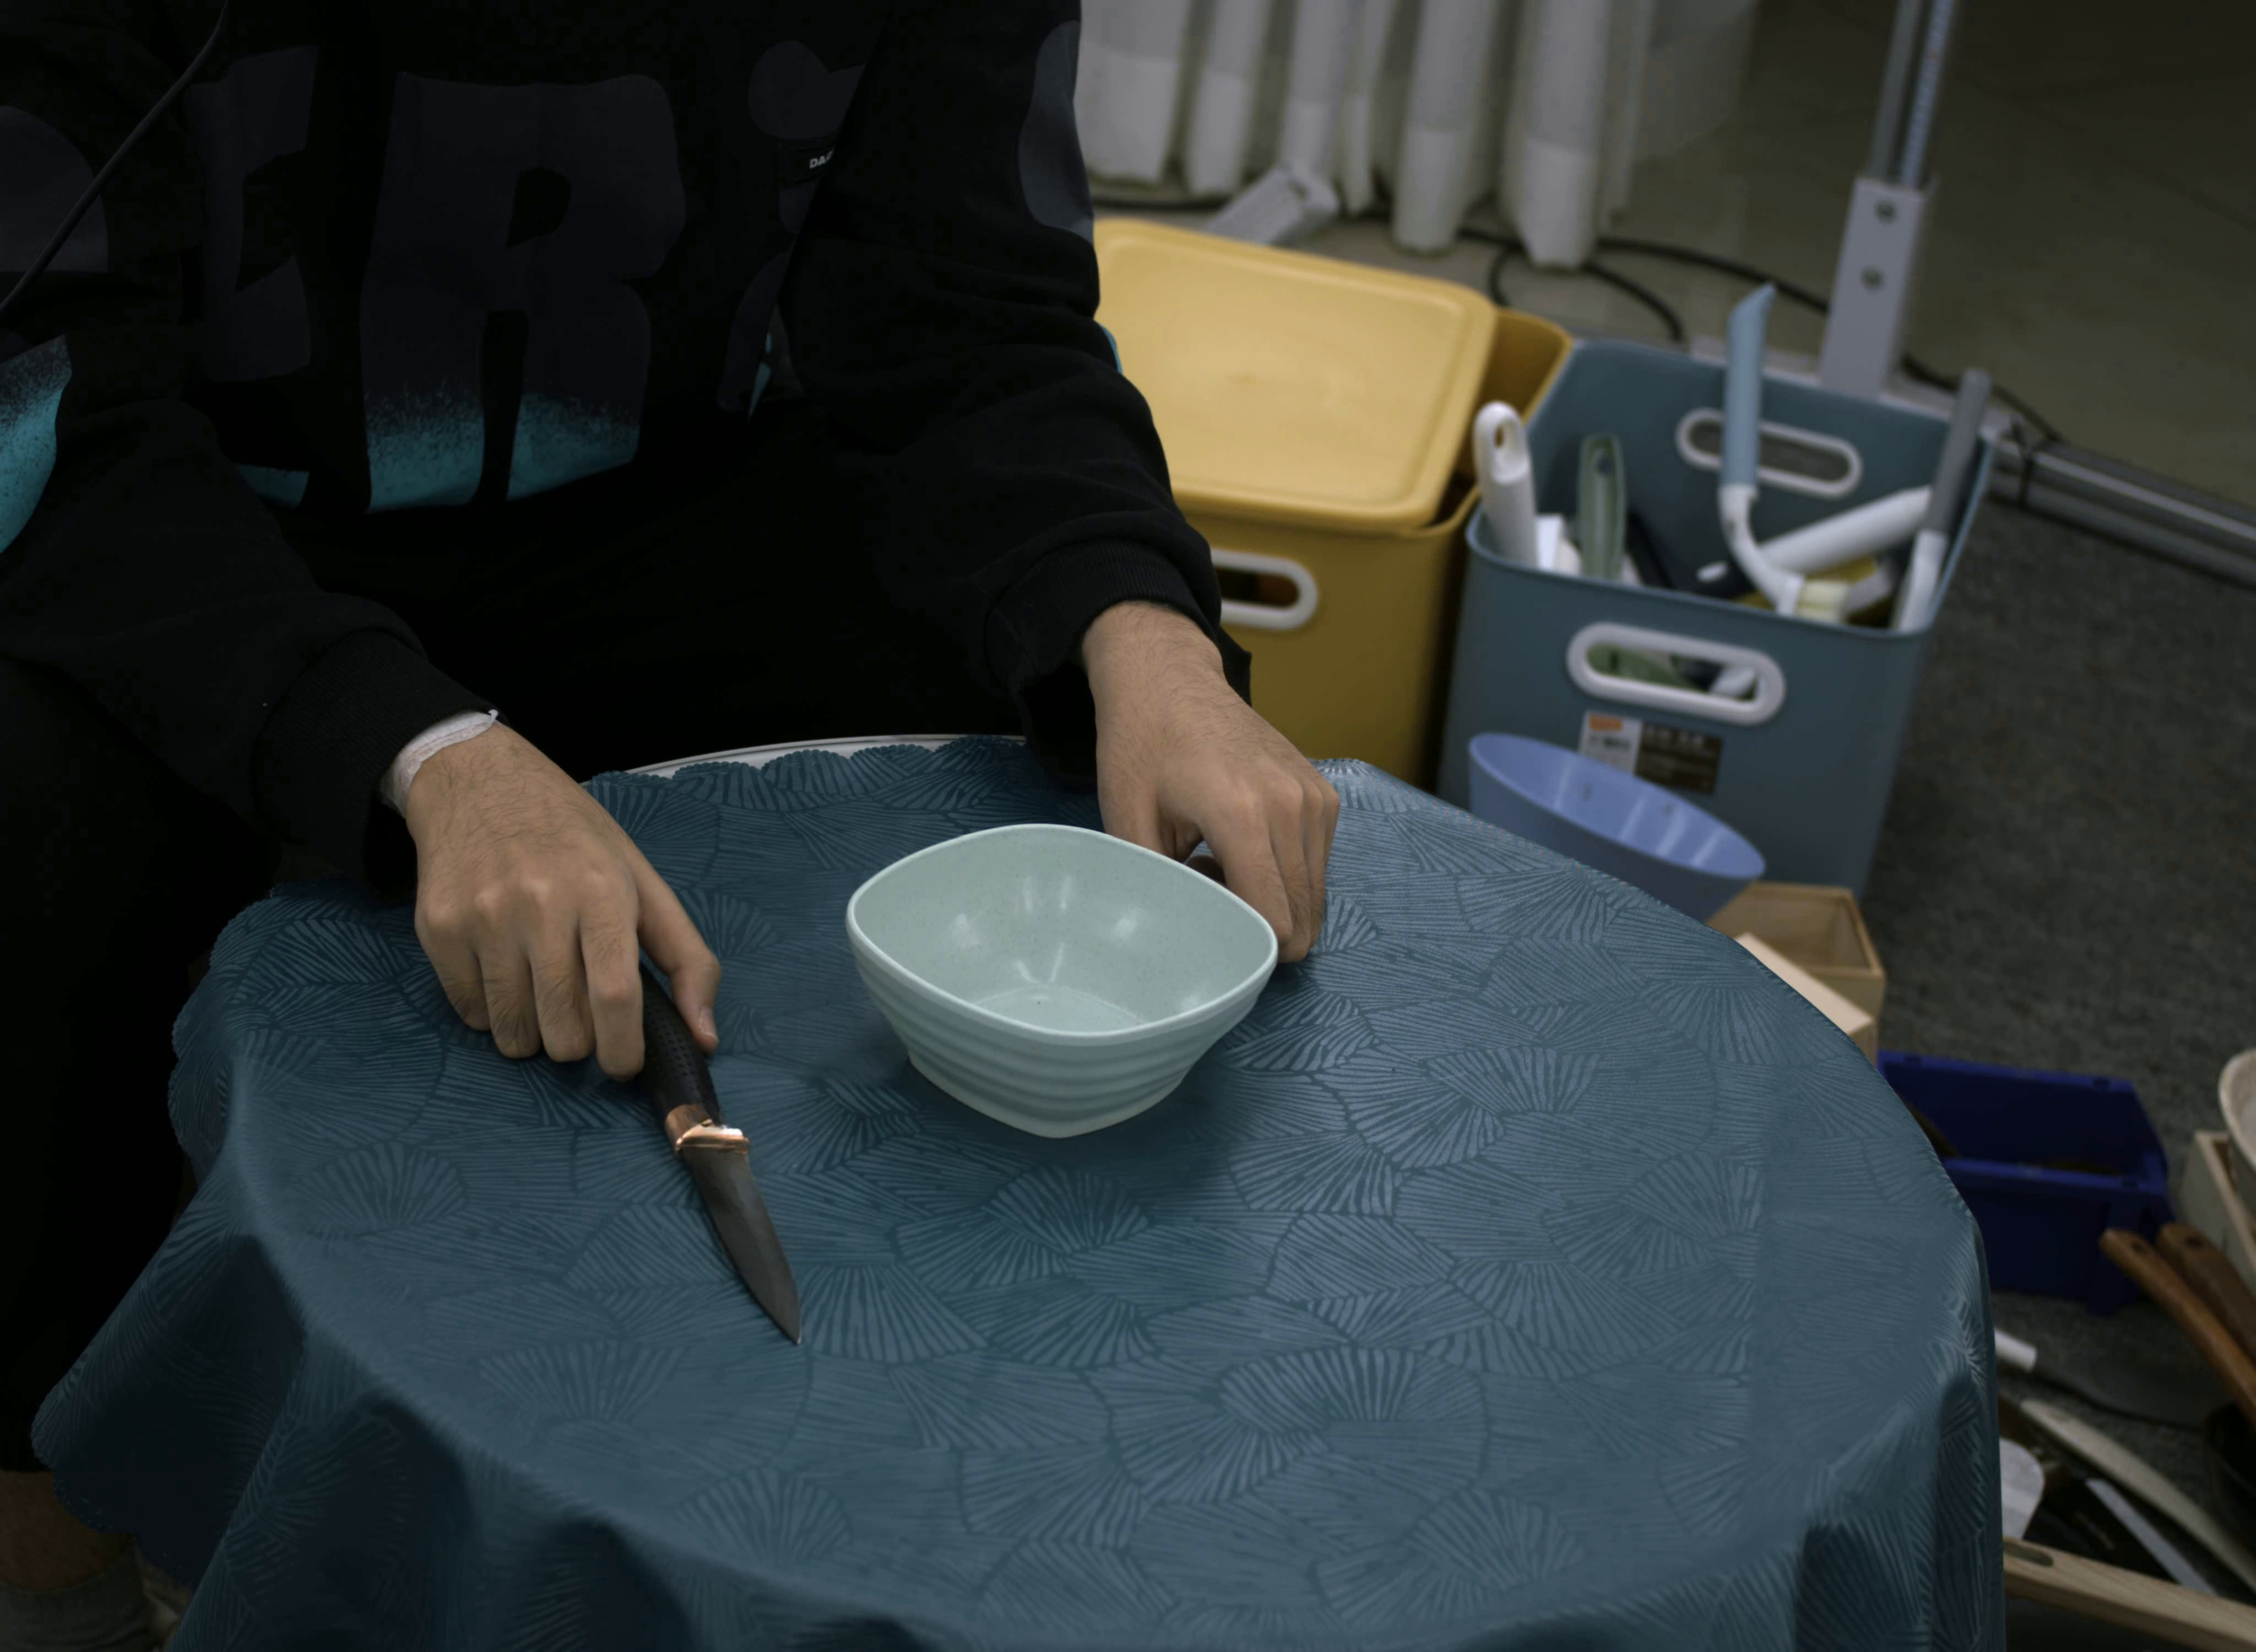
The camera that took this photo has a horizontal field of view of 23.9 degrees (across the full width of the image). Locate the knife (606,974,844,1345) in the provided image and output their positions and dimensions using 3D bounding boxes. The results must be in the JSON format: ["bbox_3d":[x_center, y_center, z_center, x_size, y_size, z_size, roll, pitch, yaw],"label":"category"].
[{"bbox_3d":[-0.138,0.110,1.787,0.026,0.017,0.227,2,28,-24],"label":"knife"}]

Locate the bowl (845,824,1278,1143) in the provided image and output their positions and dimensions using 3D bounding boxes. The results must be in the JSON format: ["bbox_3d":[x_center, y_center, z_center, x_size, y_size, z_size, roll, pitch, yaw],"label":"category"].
[{"bbox_3d":[-0.025,0.061,1.860,0.151,0.058,0.152,4,28,-3],"label":"bowl"}]
